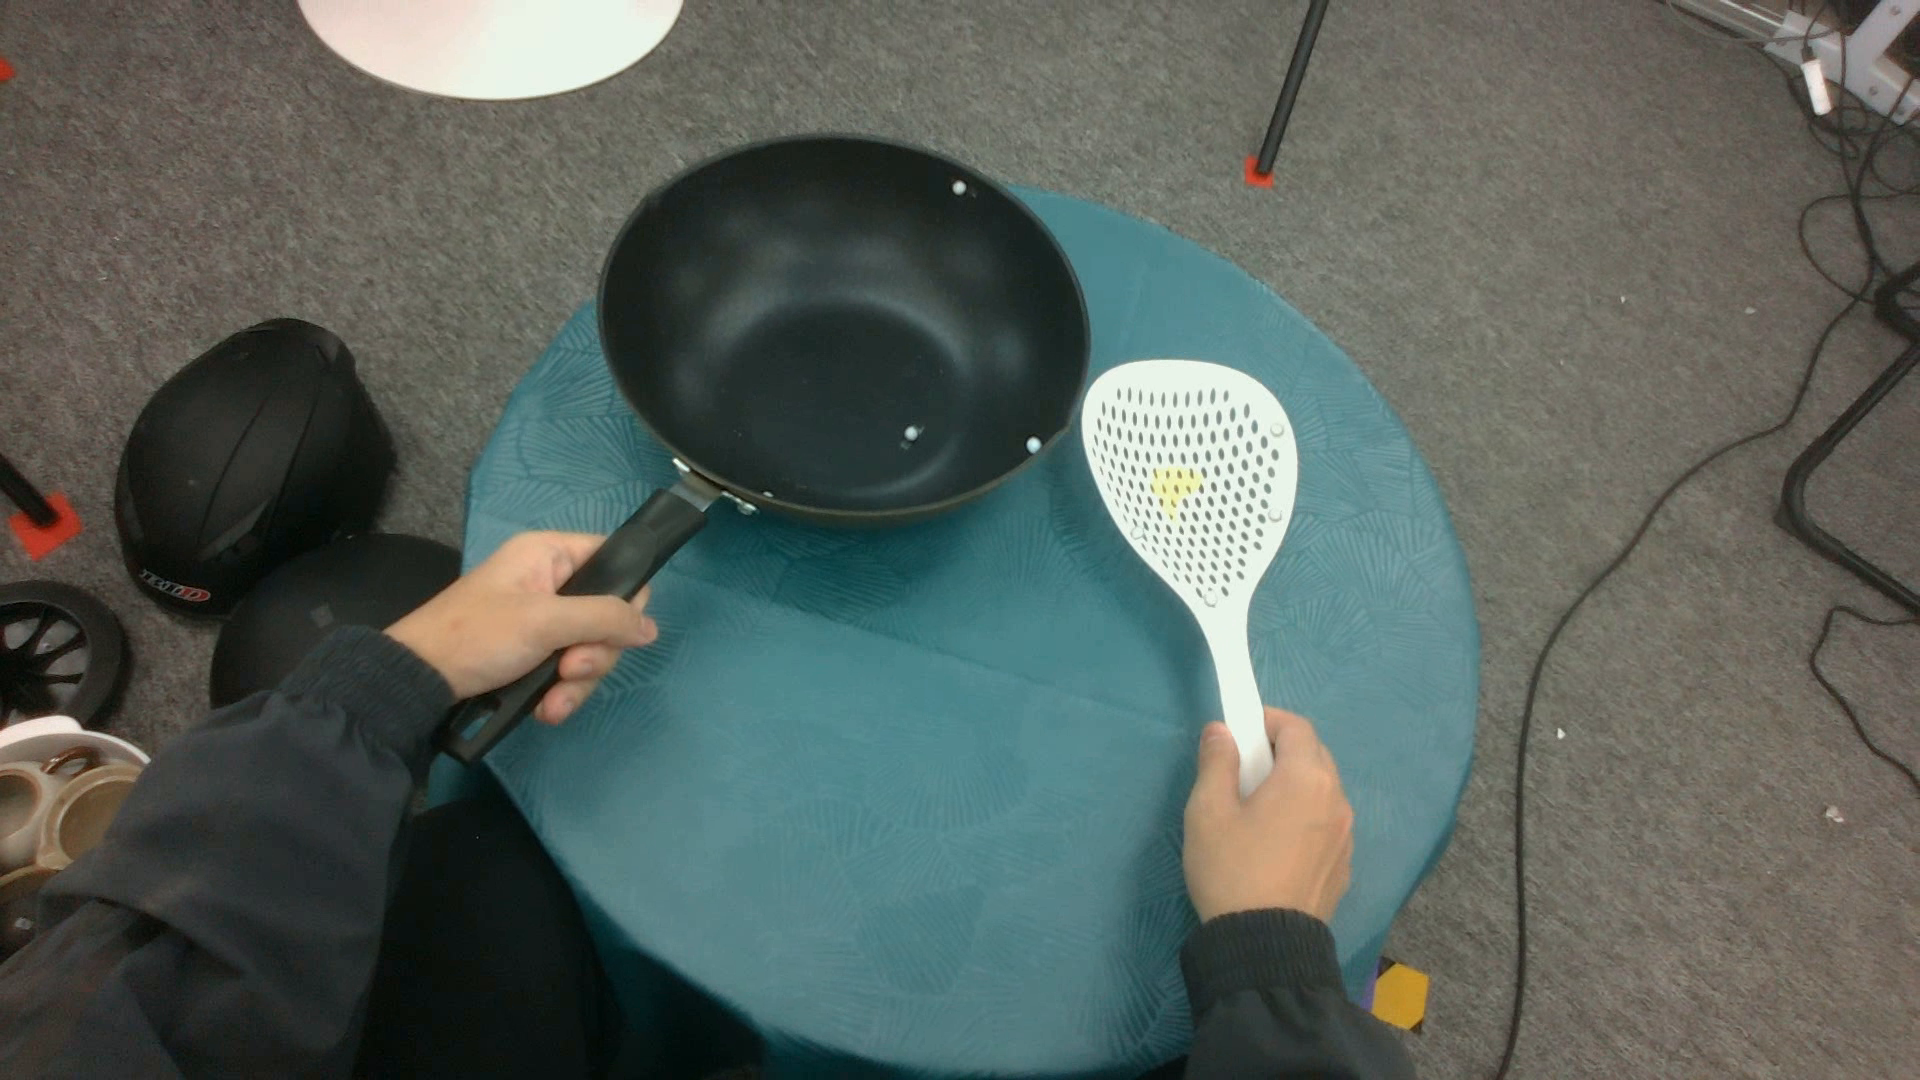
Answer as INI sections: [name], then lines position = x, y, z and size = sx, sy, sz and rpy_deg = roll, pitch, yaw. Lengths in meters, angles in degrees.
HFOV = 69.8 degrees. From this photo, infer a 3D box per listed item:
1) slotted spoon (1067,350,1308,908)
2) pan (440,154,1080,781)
[slotted spoon]
position = 0.147, 0.037, 0.799
size = 0.137, 0.050, 0.349
rpy_deg = -3, 57, -10
[pan]
position = -0.118, -0.038, 0.788
size = 0.288, 0.086, 0.465
rpy_deg = 28, 60, 10
